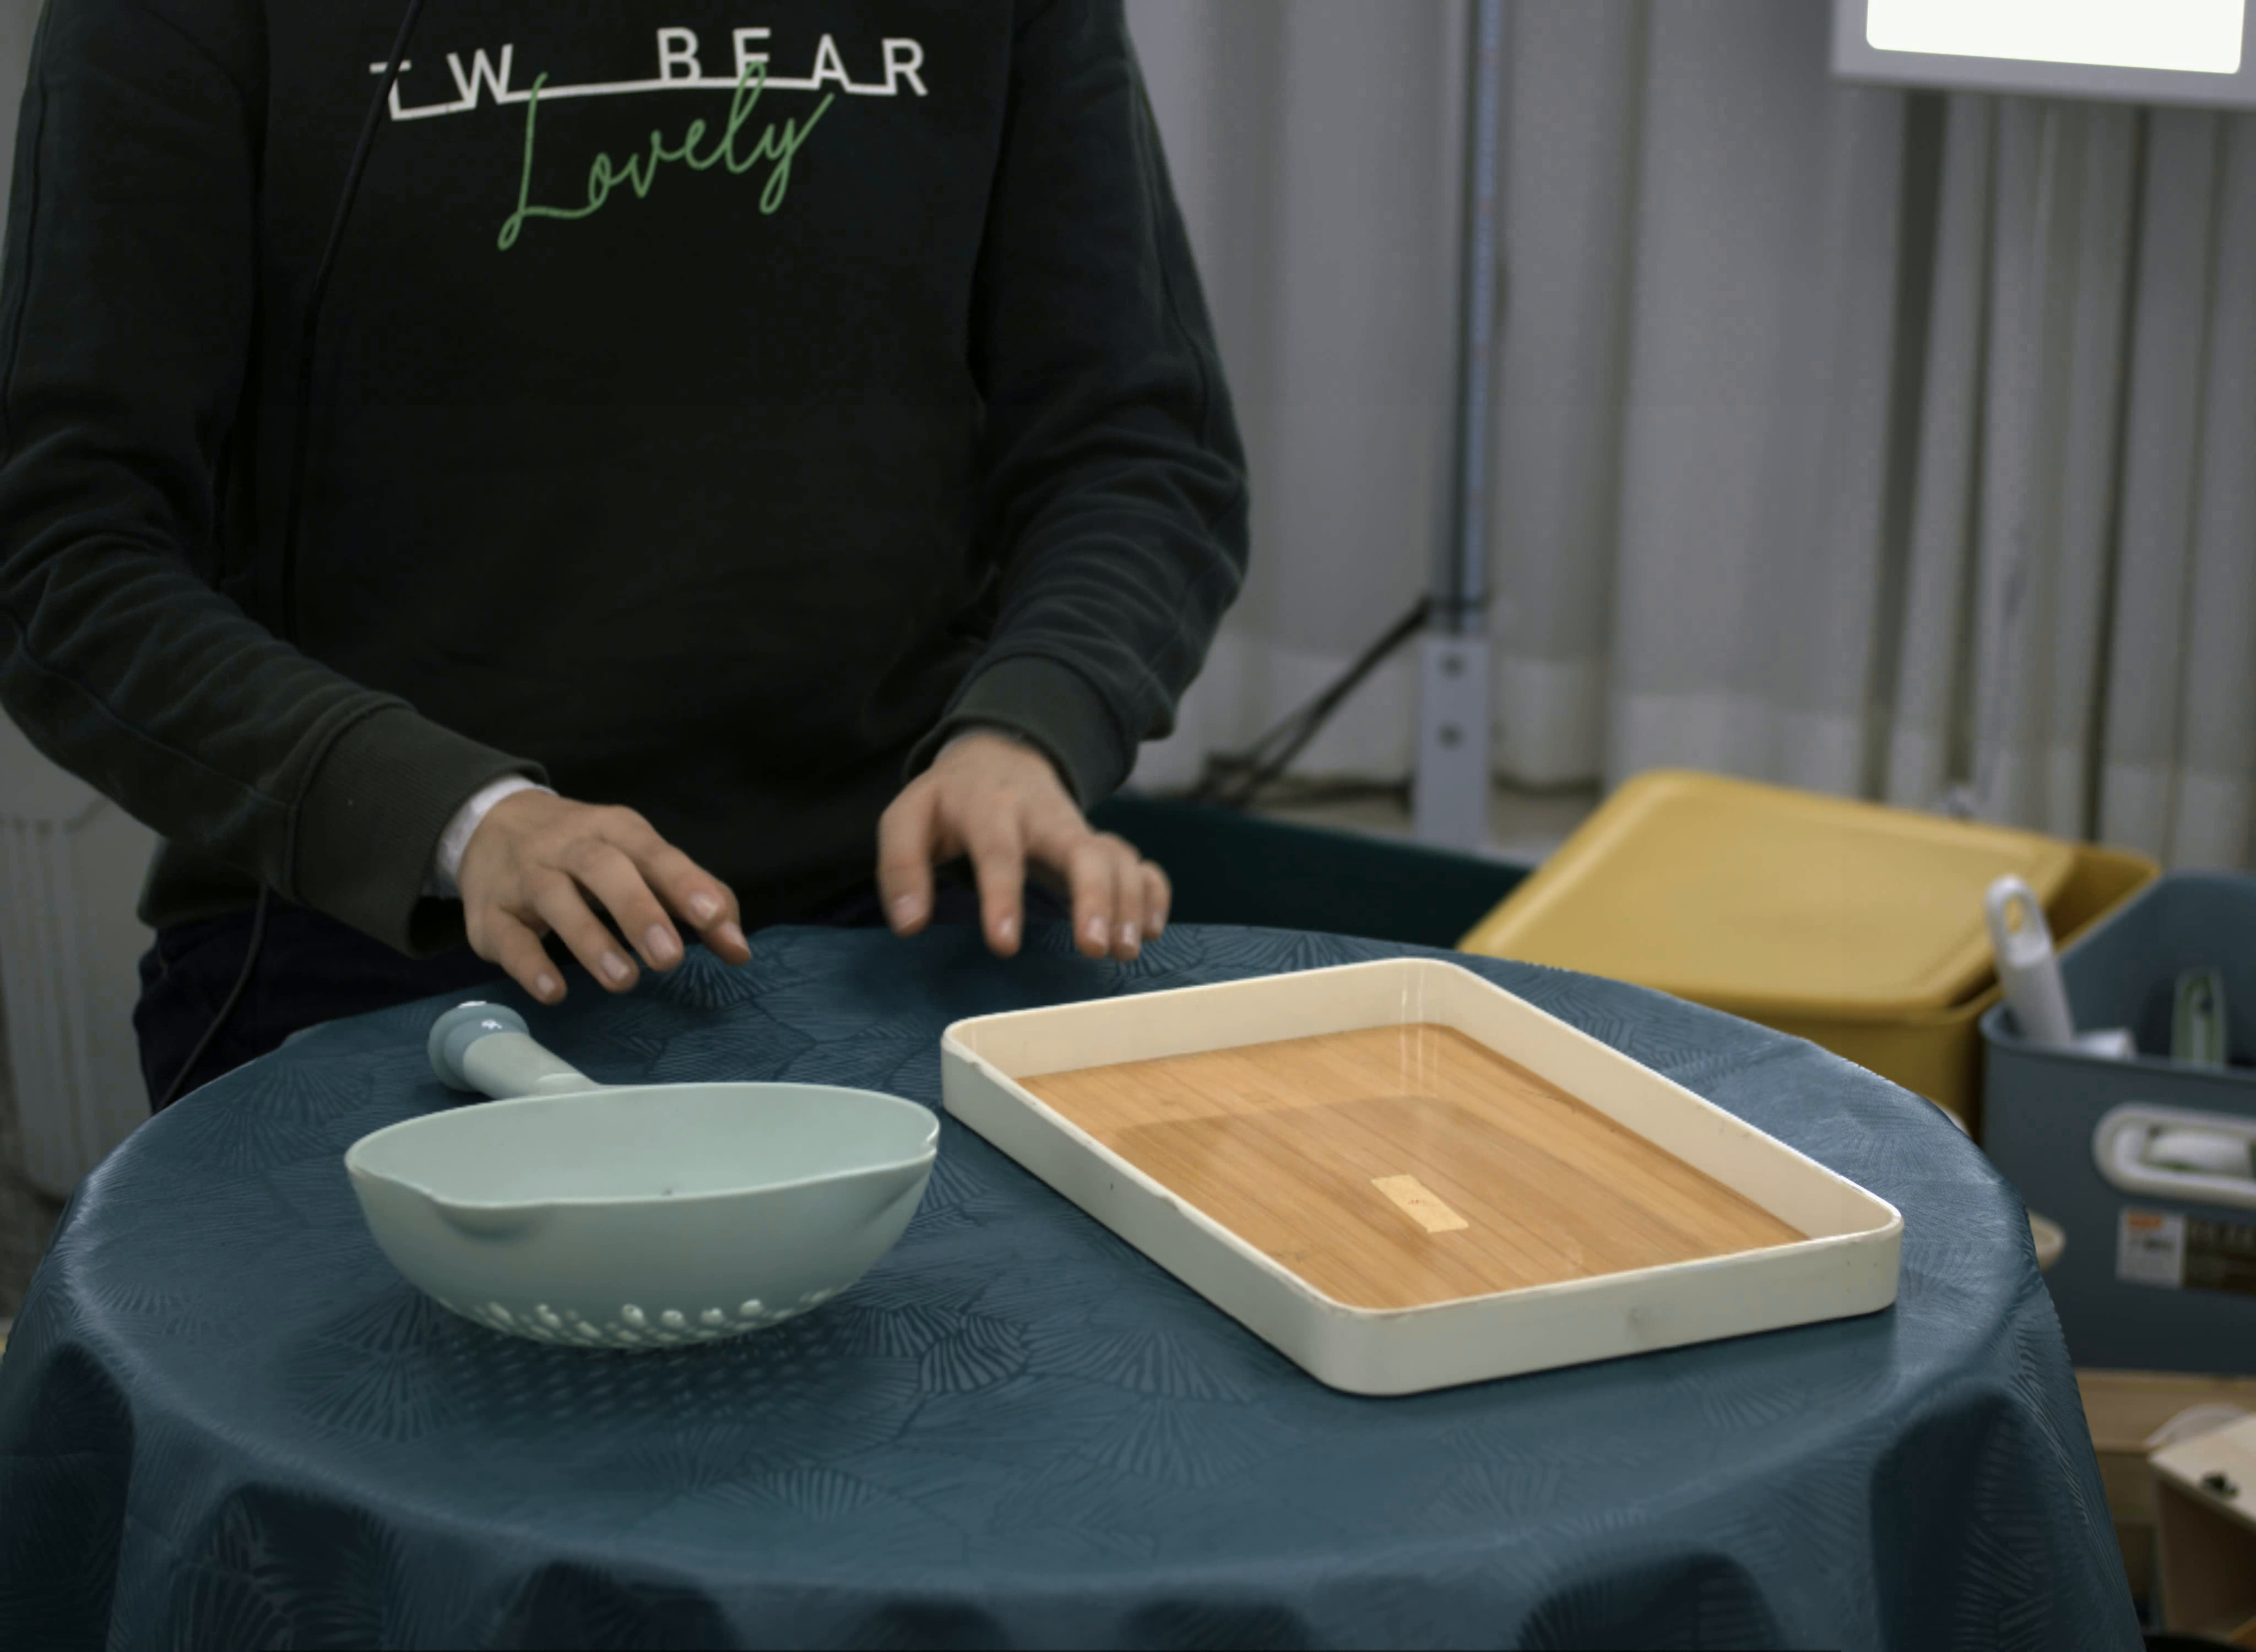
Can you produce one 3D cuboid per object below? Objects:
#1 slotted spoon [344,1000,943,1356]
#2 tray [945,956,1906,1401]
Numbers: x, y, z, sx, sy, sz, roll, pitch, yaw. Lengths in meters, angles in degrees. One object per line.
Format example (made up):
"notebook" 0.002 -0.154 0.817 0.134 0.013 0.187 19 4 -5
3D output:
"slotted spoon" -0.166 0.089 1.583 0.170 0.076 0.355 -4 17 -18
"tray" 0.084 0.103 1.618 0.192 0.027 0.296 -7 18 -25
